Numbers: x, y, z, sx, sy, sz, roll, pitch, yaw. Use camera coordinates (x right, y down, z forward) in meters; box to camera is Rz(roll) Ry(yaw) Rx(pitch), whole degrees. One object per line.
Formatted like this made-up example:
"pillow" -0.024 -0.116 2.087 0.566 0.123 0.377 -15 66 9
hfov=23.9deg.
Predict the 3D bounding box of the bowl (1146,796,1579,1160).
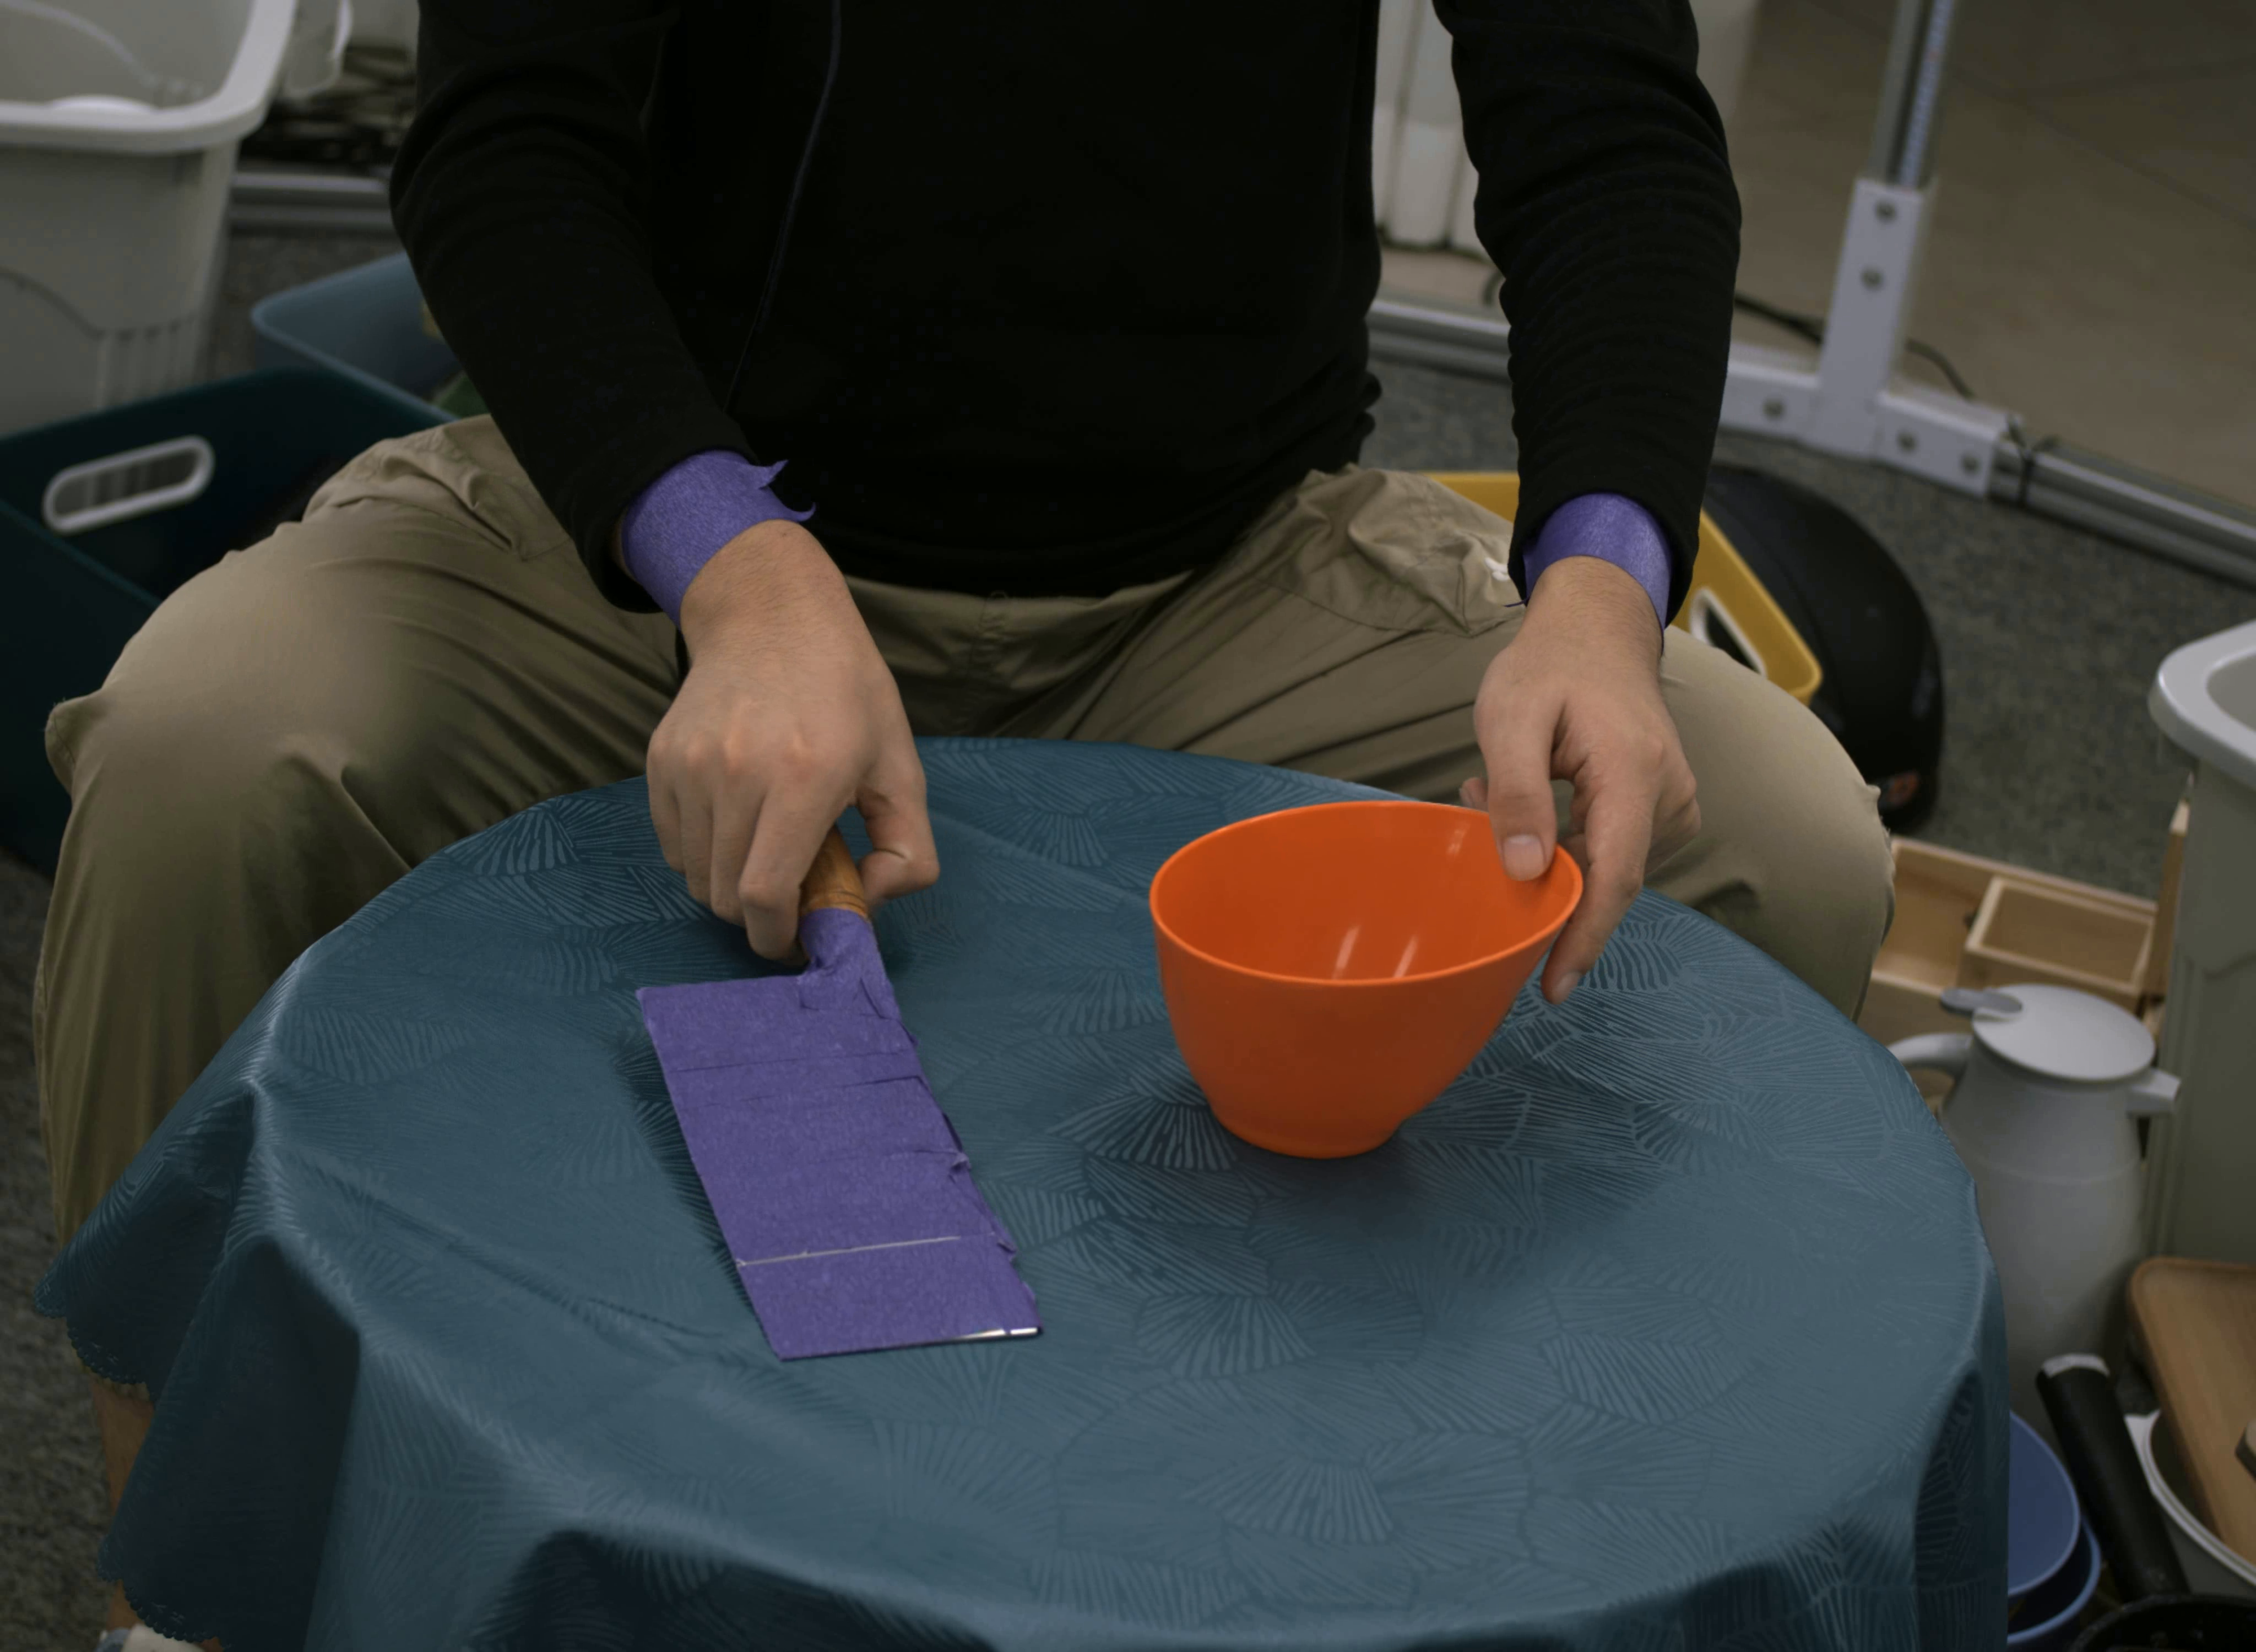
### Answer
"bowl" 0.076 0.058 1.840 0.147 0.104 0.149 4 29 -2

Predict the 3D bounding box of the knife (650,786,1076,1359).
"knife" -0.110 0.079 1.824 0.103 0.032 0.318 -3 32 -18
